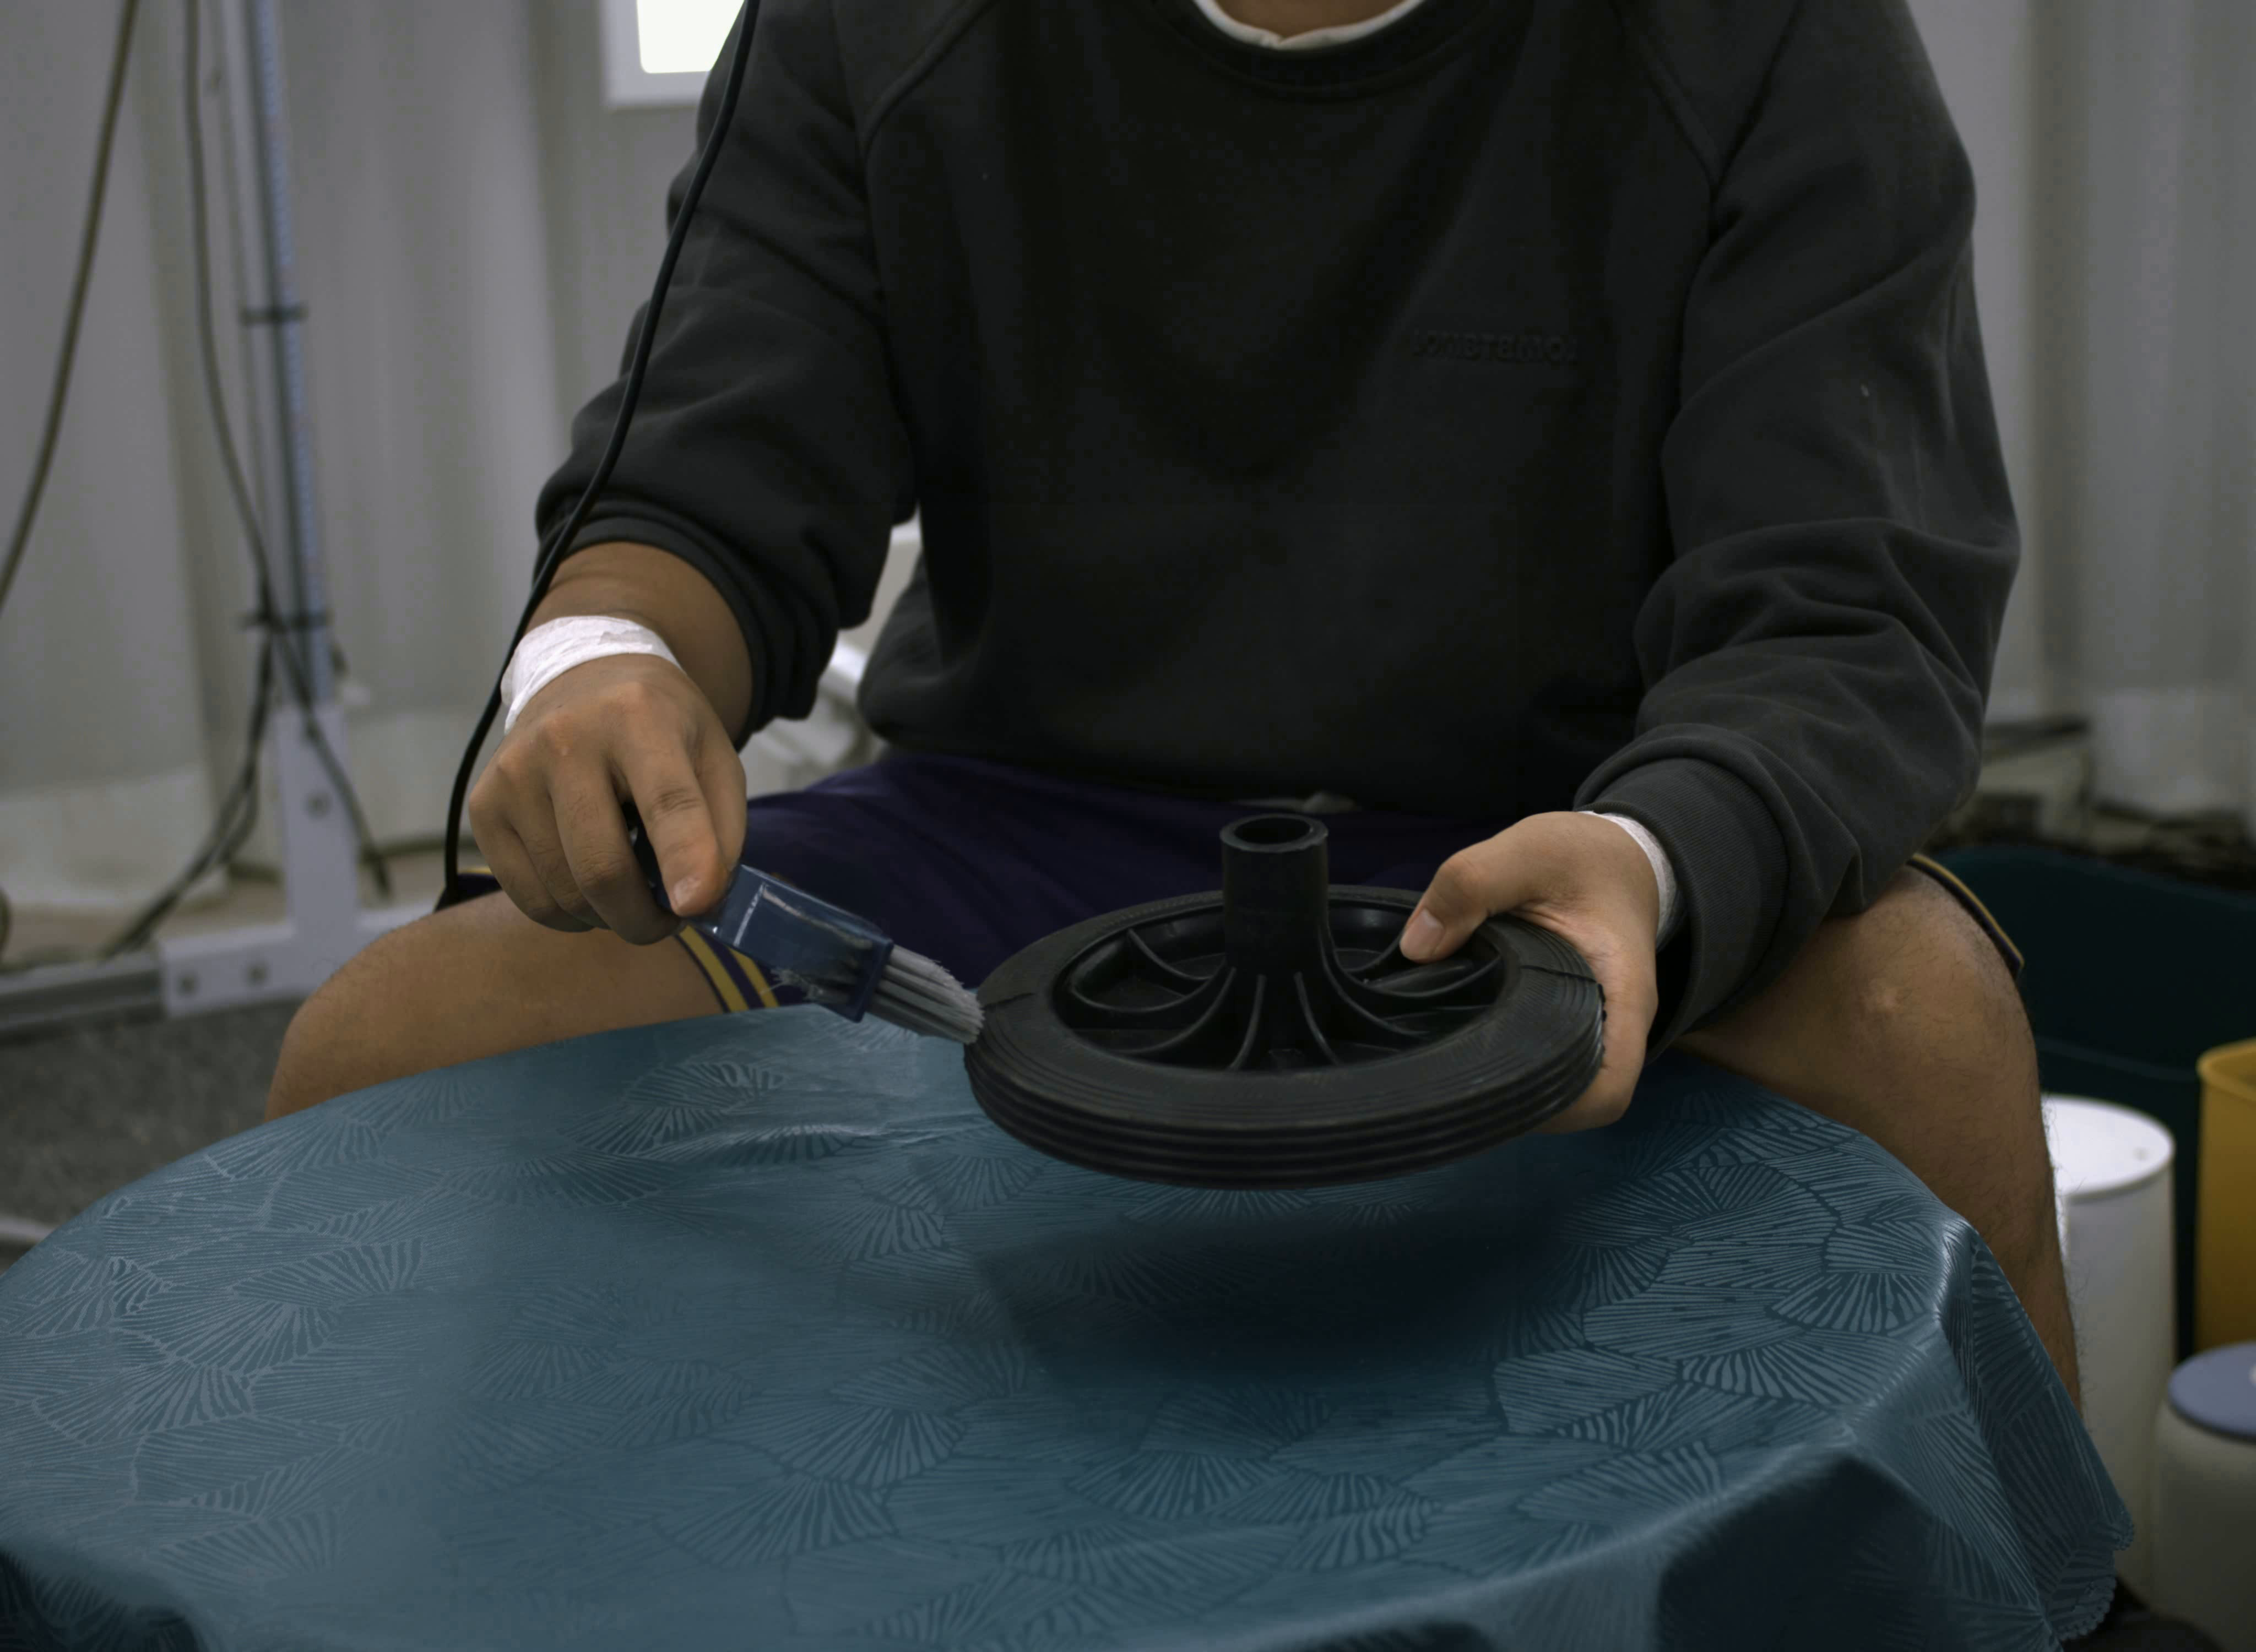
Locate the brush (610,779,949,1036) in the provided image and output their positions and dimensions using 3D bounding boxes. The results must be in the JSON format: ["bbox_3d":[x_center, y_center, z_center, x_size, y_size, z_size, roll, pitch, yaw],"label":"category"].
[{"bbox_3d":[-0.126,0.020,1.680,0.095,0.033,0.275,20,2,-31],"label":"brush"}]

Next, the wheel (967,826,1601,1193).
[{"bbox_3d":[0.045,0.042,1.603,0.188,0.078,0.190,10,23,34],"label":"wheel"}]
